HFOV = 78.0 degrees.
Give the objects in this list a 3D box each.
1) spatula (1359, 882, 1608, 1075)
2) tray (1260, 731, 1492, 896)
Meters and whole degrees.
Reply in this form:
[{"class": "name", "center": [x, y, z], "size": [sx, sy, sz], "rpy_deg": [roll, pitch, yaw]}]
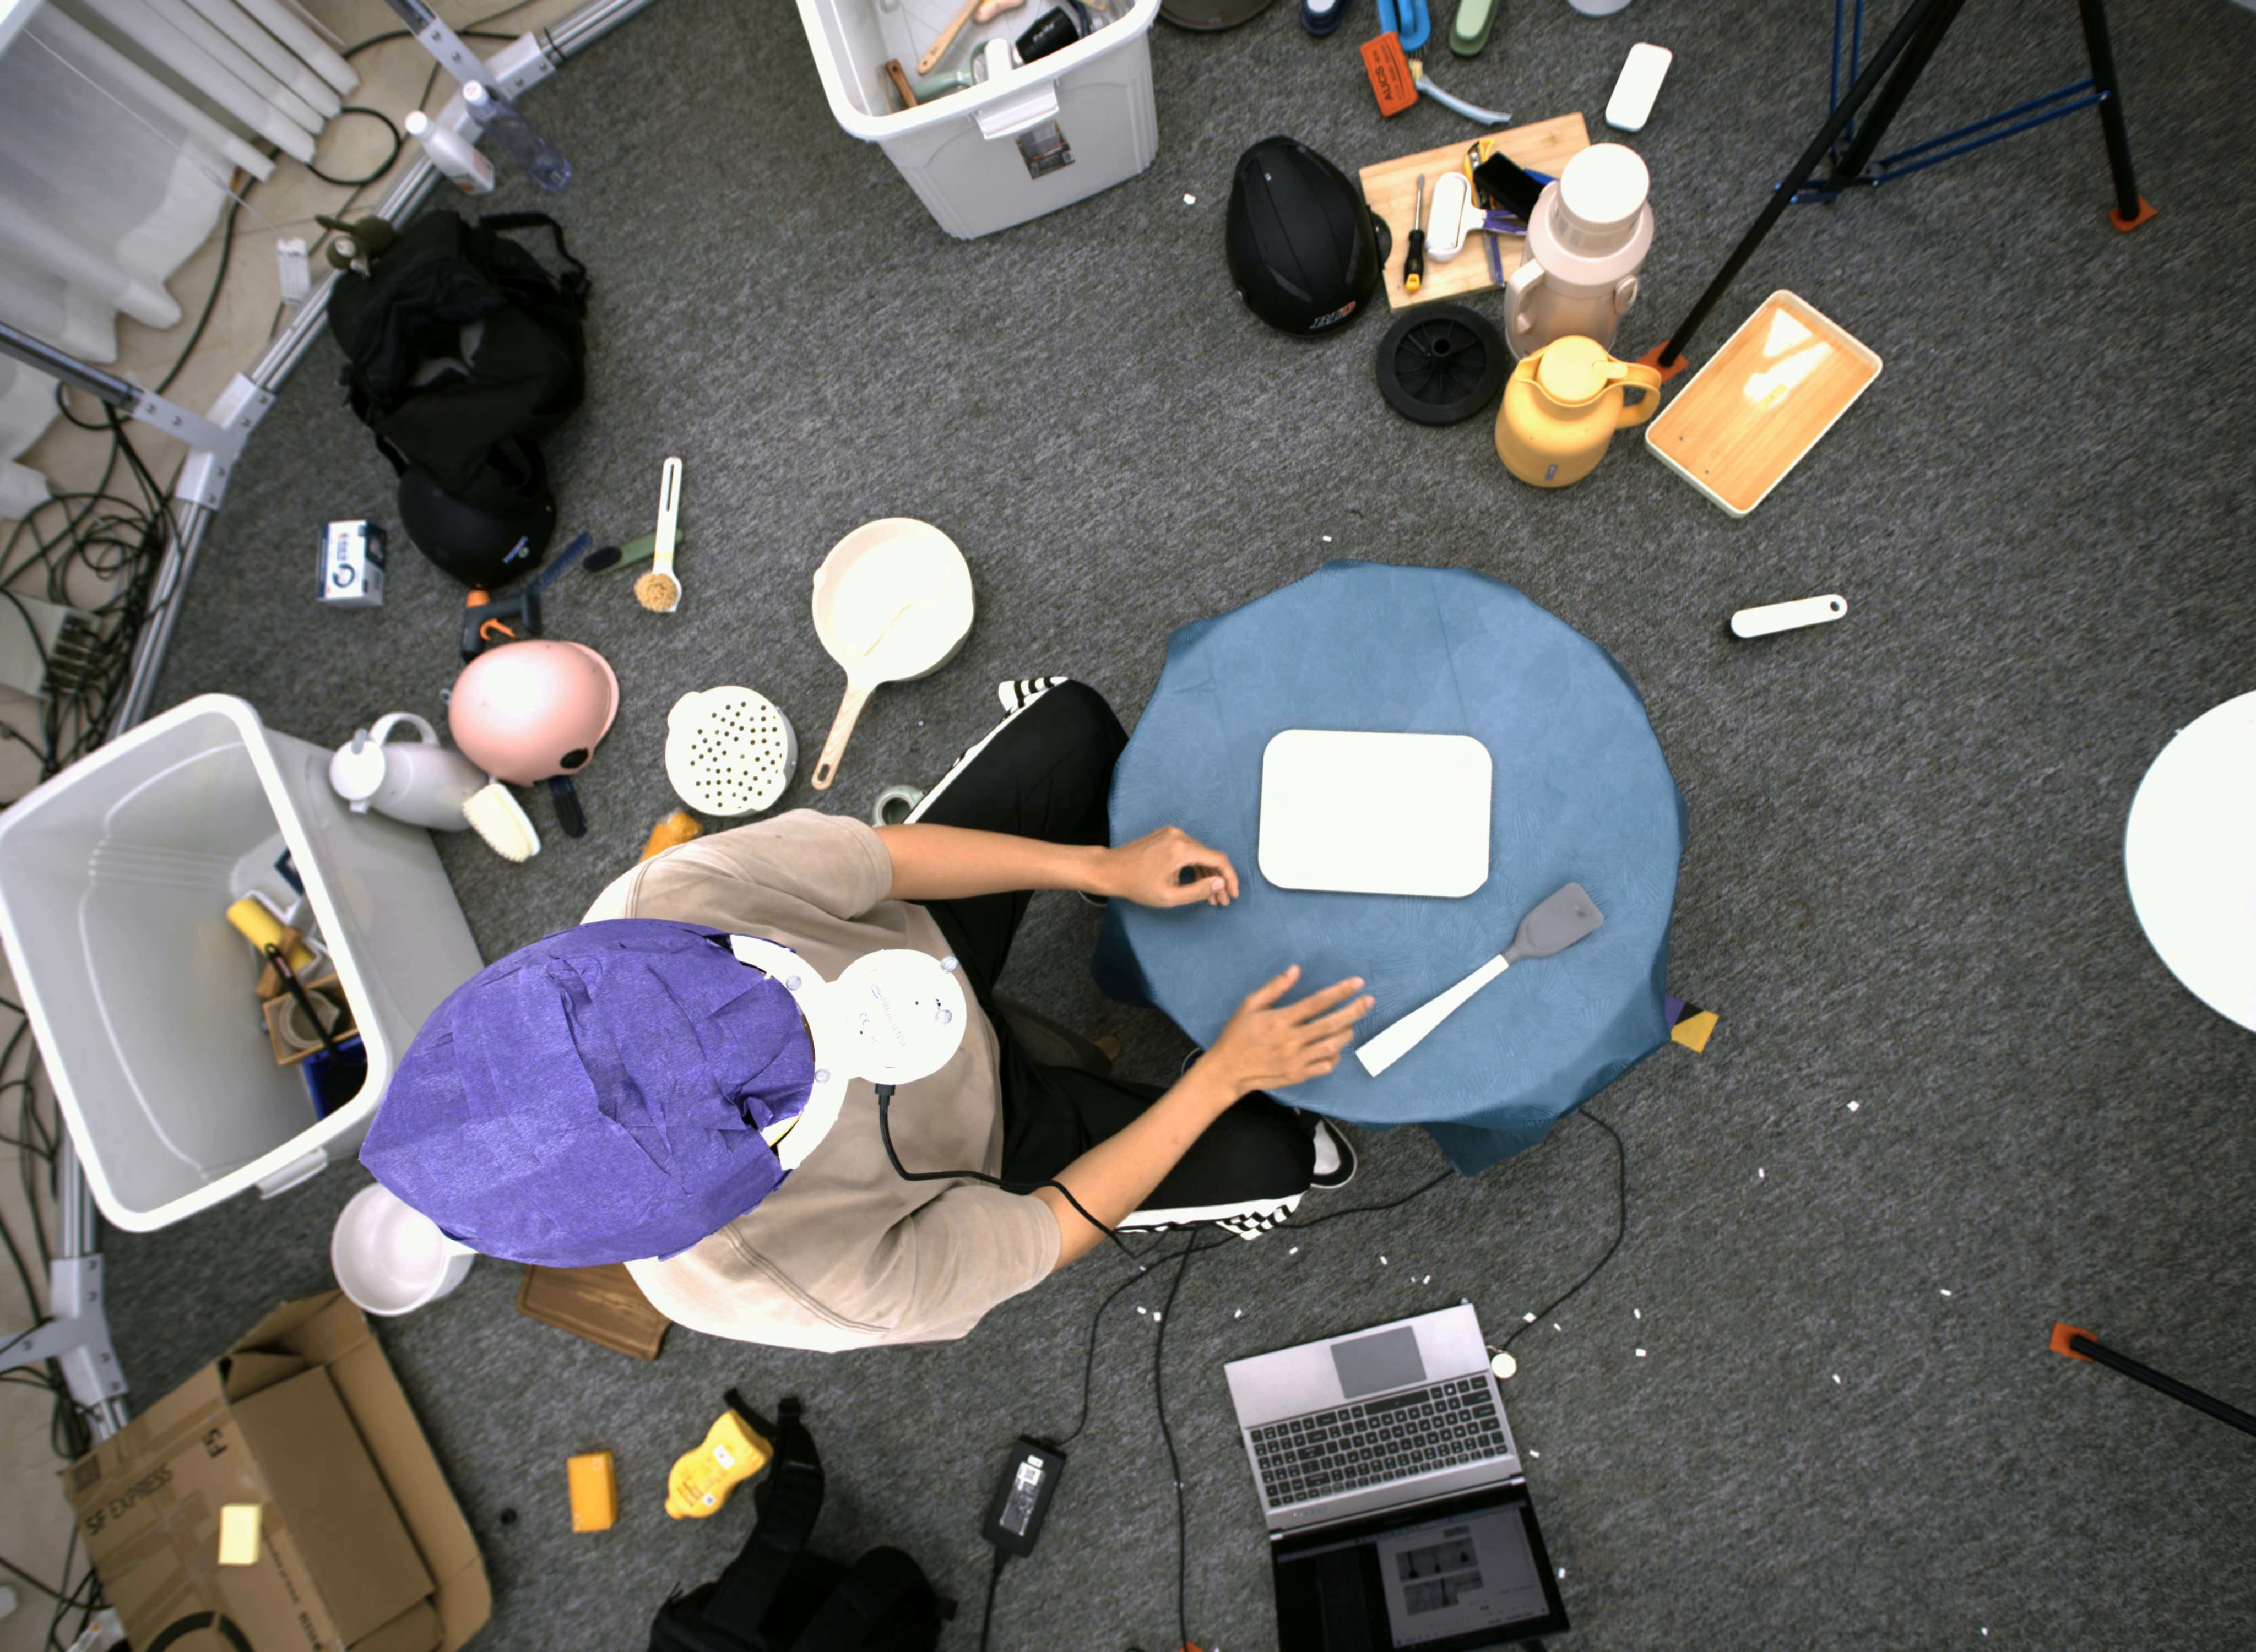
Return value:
[{"class": "spatula", "center": [0.363, 0.158, 1.421], "size": [0.289, 0.032, 0.058], "rpy_deg": [-37, 77, 6]}, {"class": "tray", "center": [0.261, -0.015, 1.459], "size": [0.240, 0.017, 0.170], "rpy_deg": [3, 86, 11]}]
